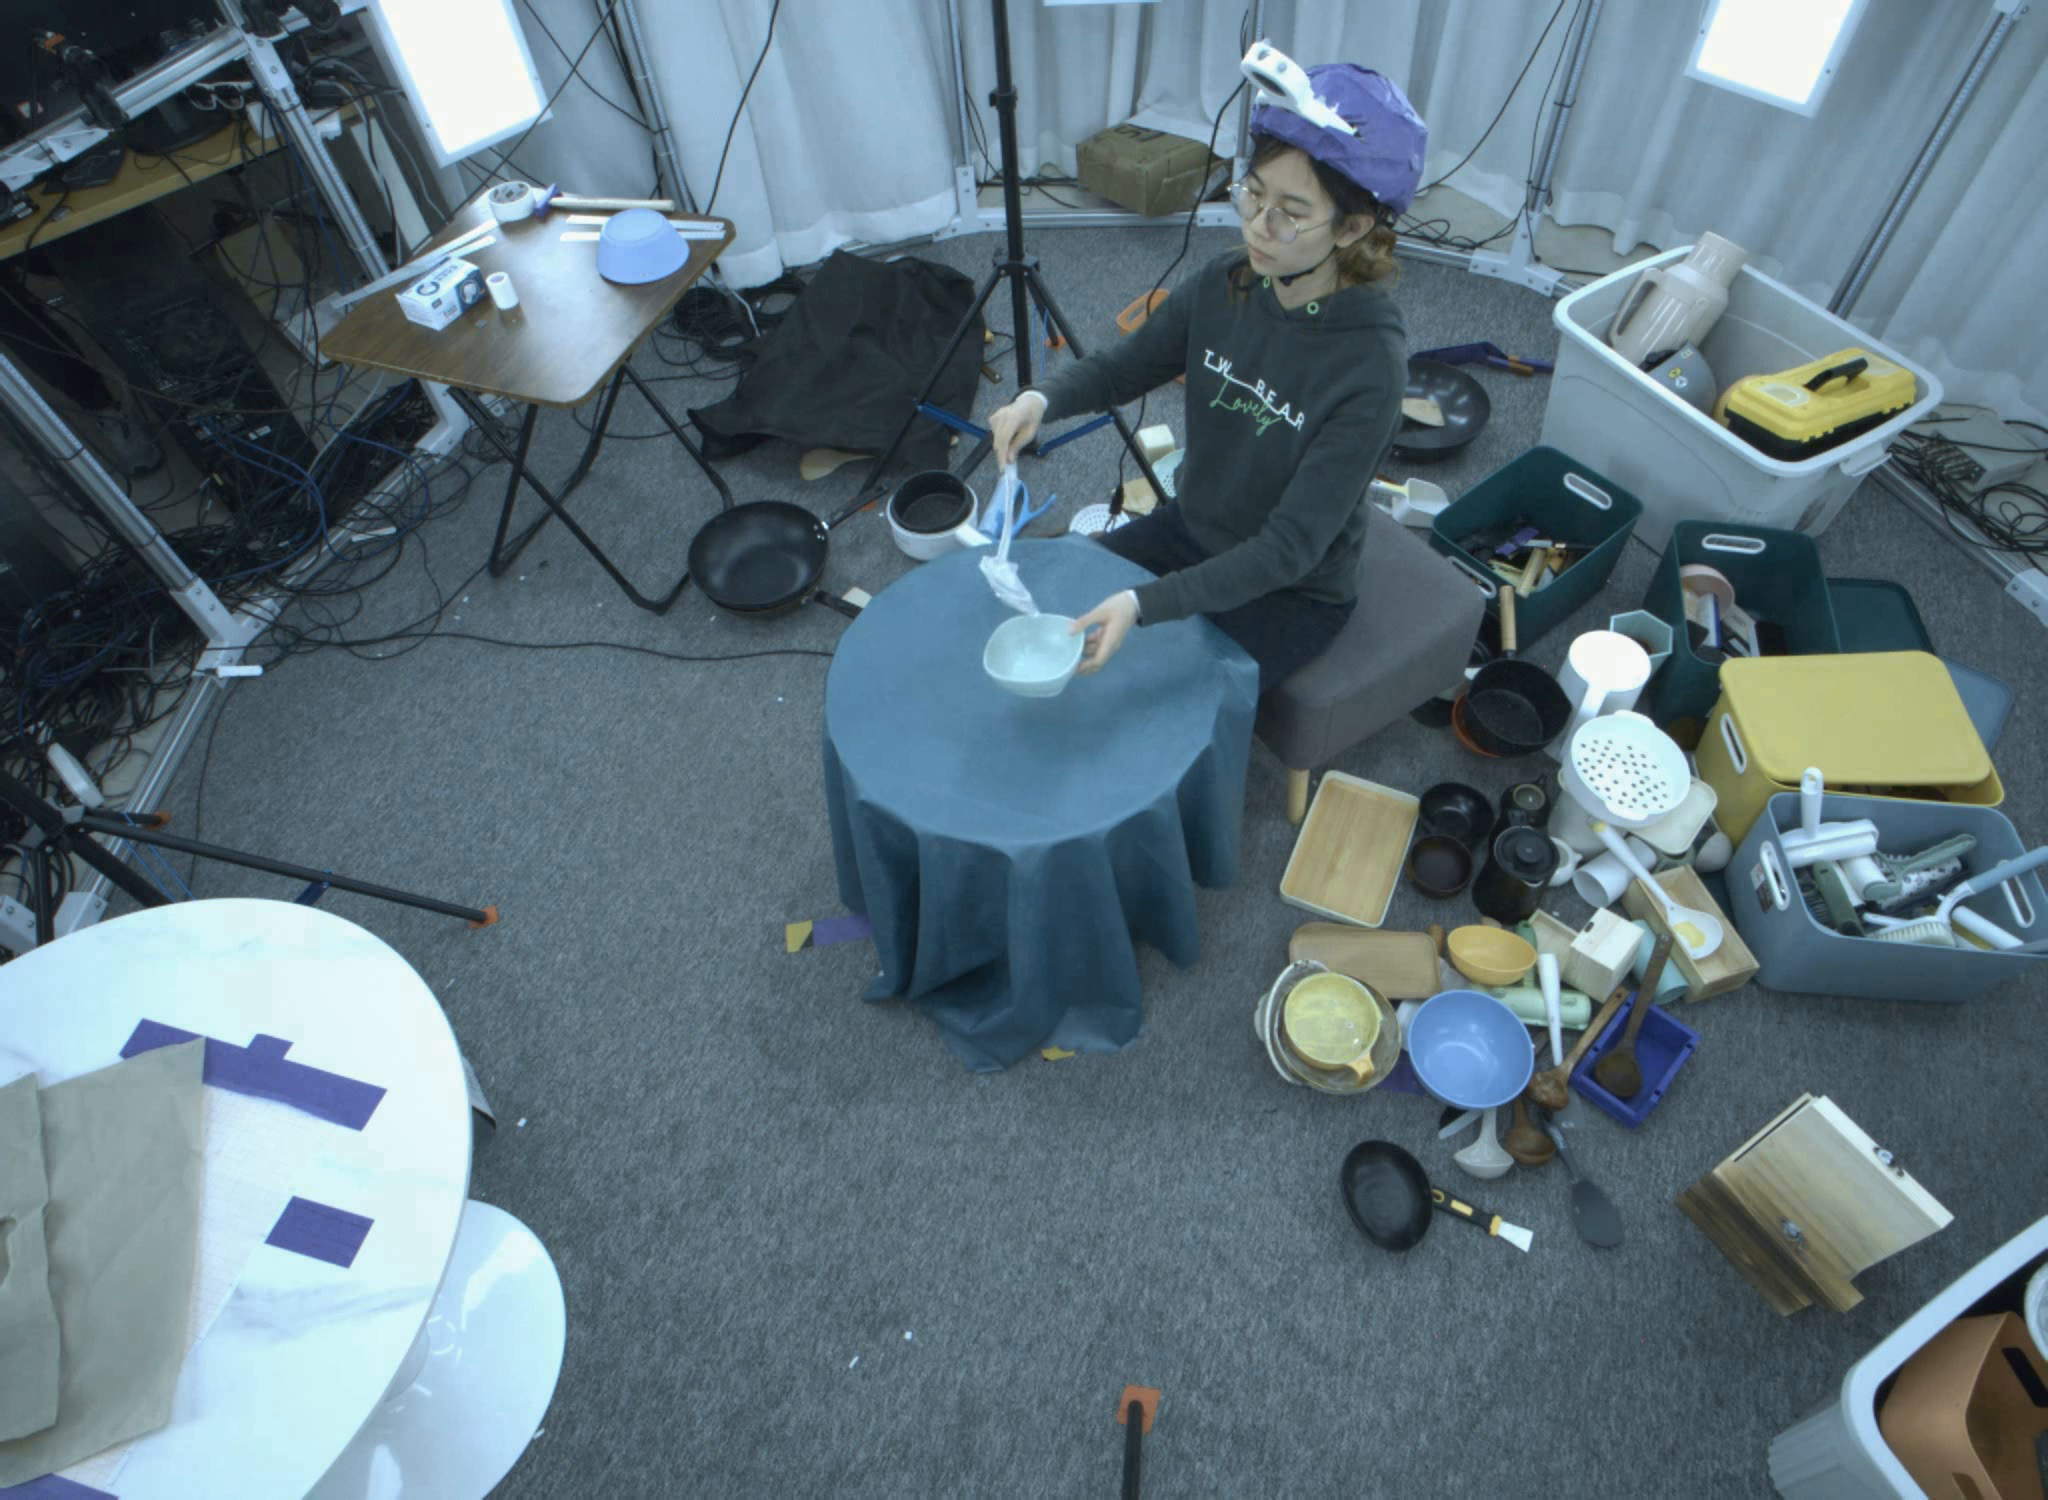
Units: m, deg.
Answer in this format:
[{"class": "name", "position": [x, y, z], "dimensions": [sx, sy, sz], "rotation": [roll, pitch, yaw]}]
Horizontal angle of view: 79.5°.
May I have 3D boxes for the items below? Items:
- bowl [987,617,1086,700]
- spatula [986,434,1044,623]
[{"class": "bowl", "position": [0.023, -0.121, 1.748], "dimensions": [0.150, 0.059, 0.150], "rotation": [-6, 50, 8]}, {"class": "spatula", "position": [-0.014, -0.335, 1.748], "dimensions": [0.044, 0.101, 0.361], "rotation": [-23, 54, 38]}]
